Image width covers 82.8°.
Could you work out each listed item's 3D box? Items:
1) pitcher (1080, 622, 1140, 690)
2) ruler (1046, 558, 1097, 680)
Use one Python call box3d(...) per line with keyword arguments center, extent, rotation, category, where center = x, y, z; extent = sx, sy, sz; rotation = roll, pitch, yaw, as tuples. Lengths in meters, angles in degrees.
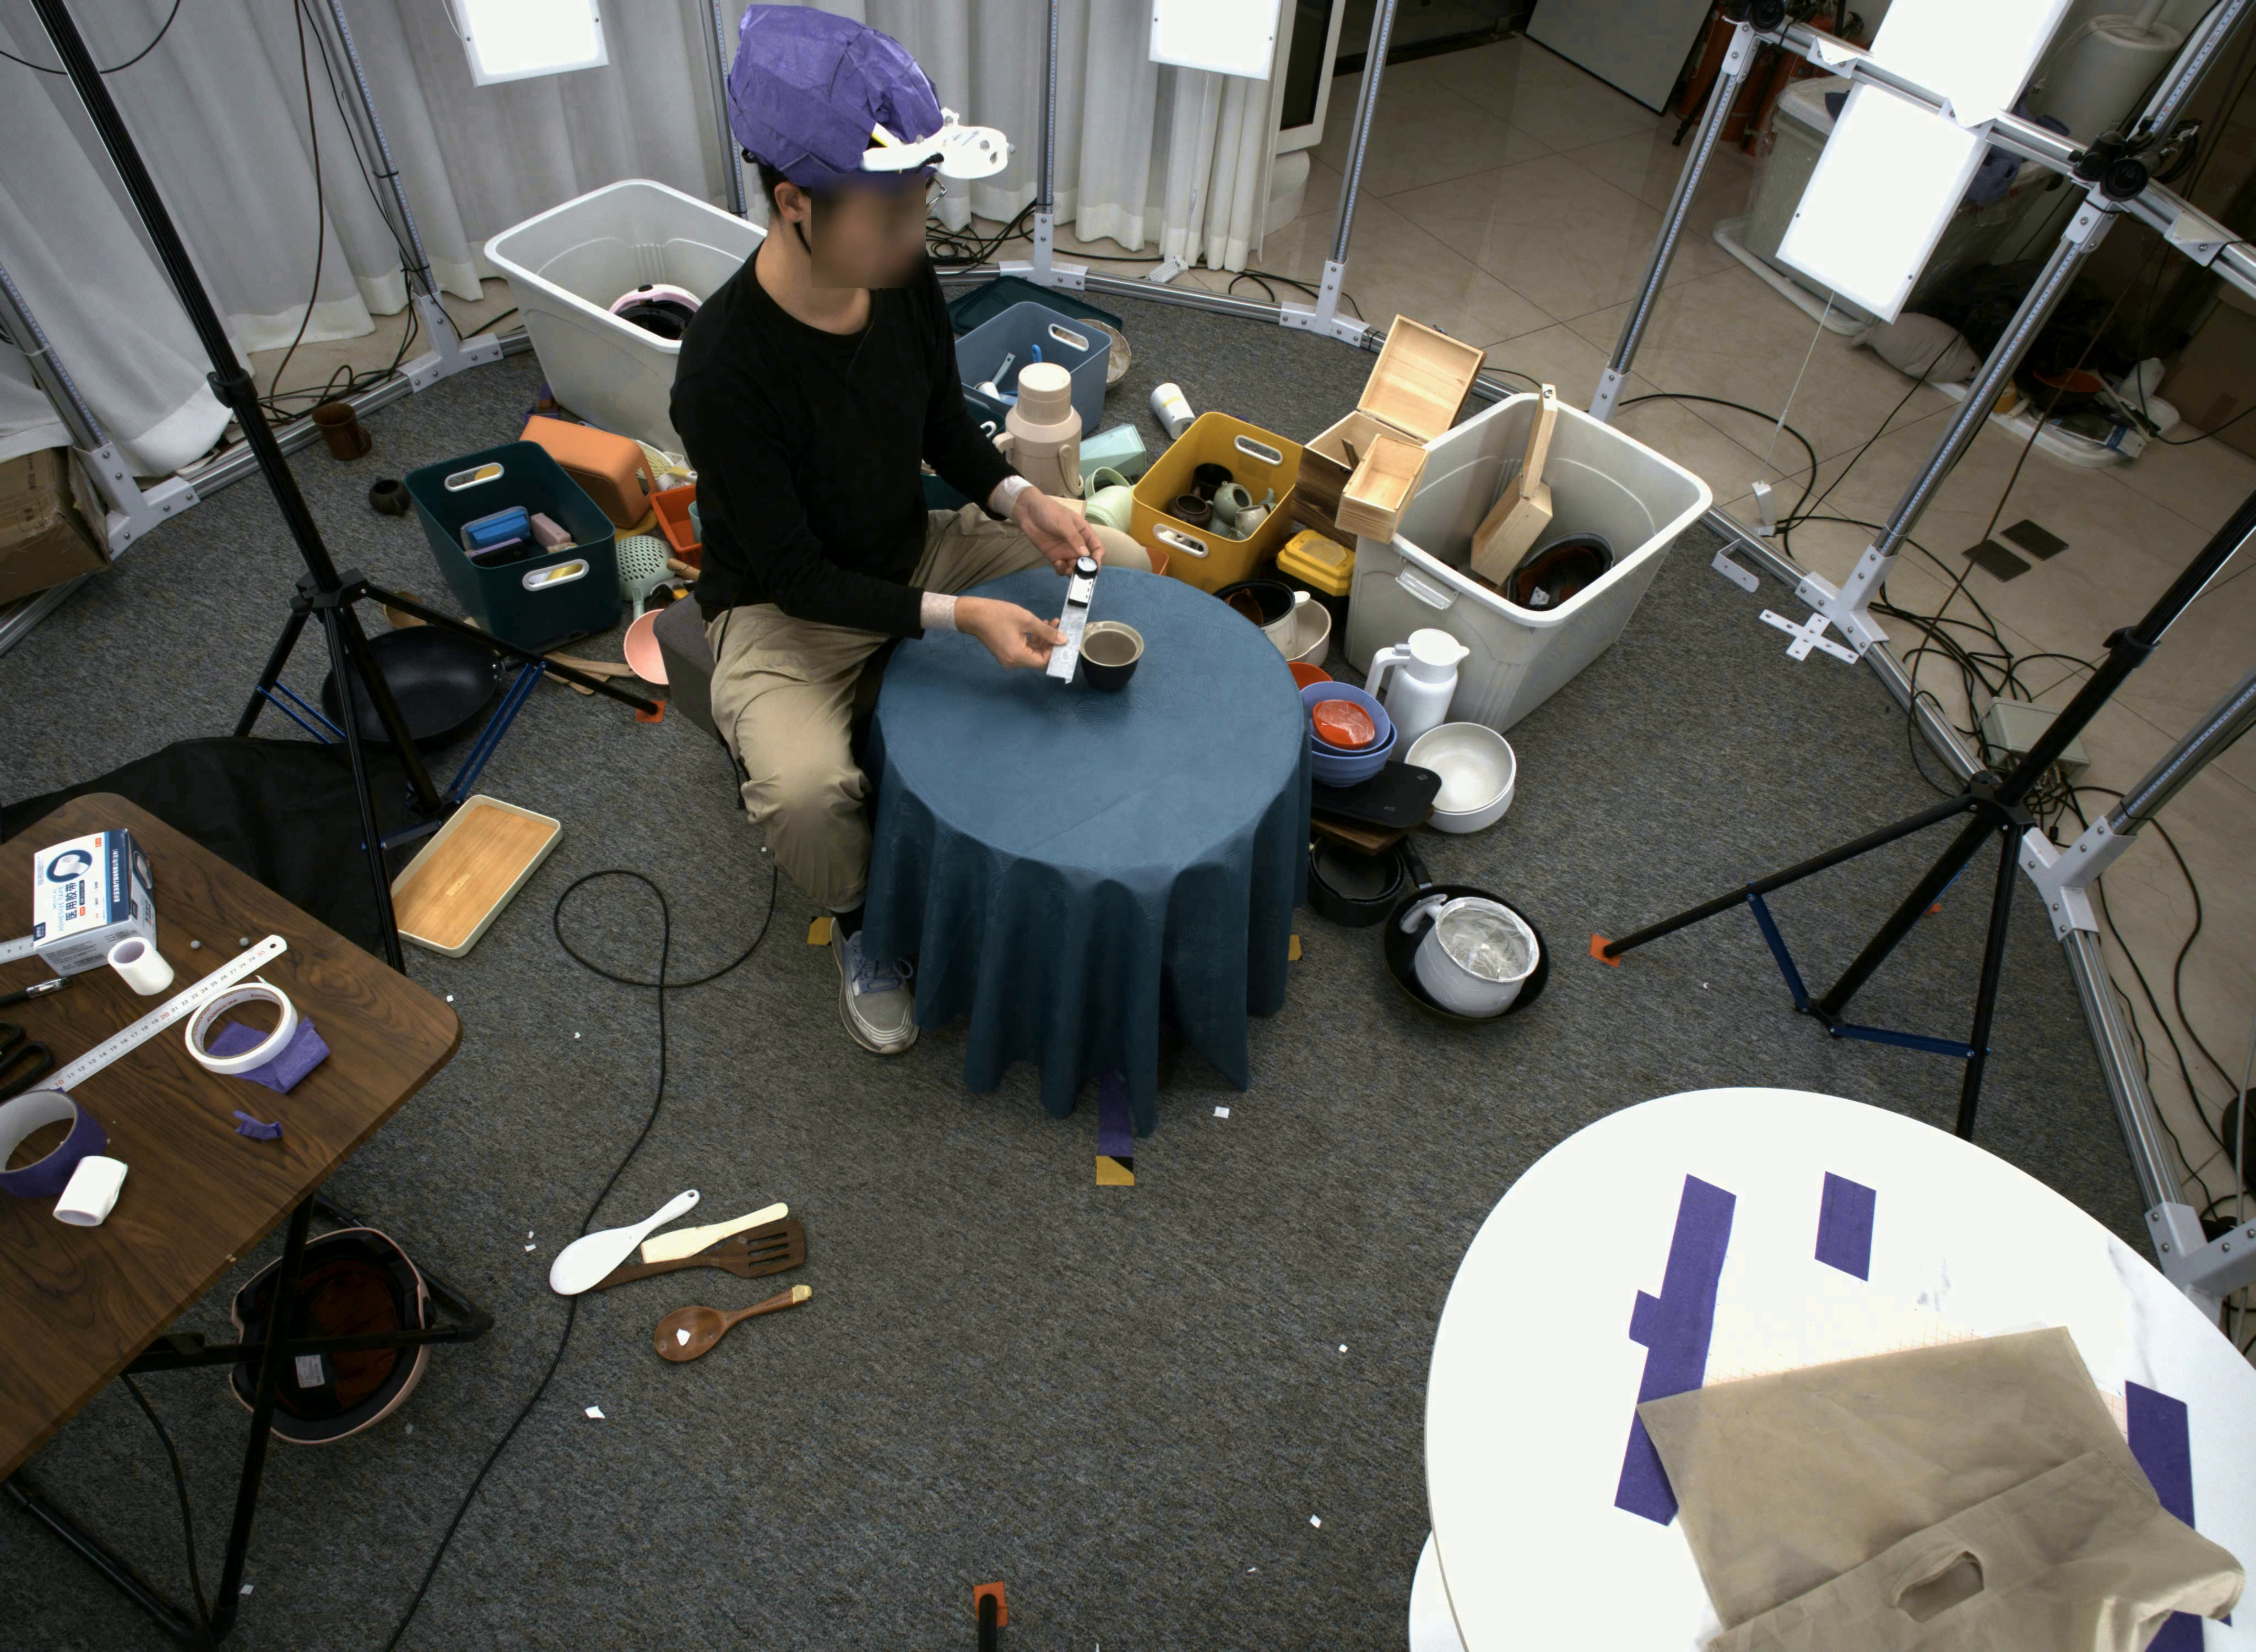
box3d(center=(-0.030, -0.238, 1.827), extent=(0.084, 0.069, 0.097), rotation=(-31, 59, -26), category="pitcher")
box3d(center=(-0.076, -0.294, 1.803), extent=(0.038, 0.023, 0.223), rotation=(9, 54, 3), category="ruler")
